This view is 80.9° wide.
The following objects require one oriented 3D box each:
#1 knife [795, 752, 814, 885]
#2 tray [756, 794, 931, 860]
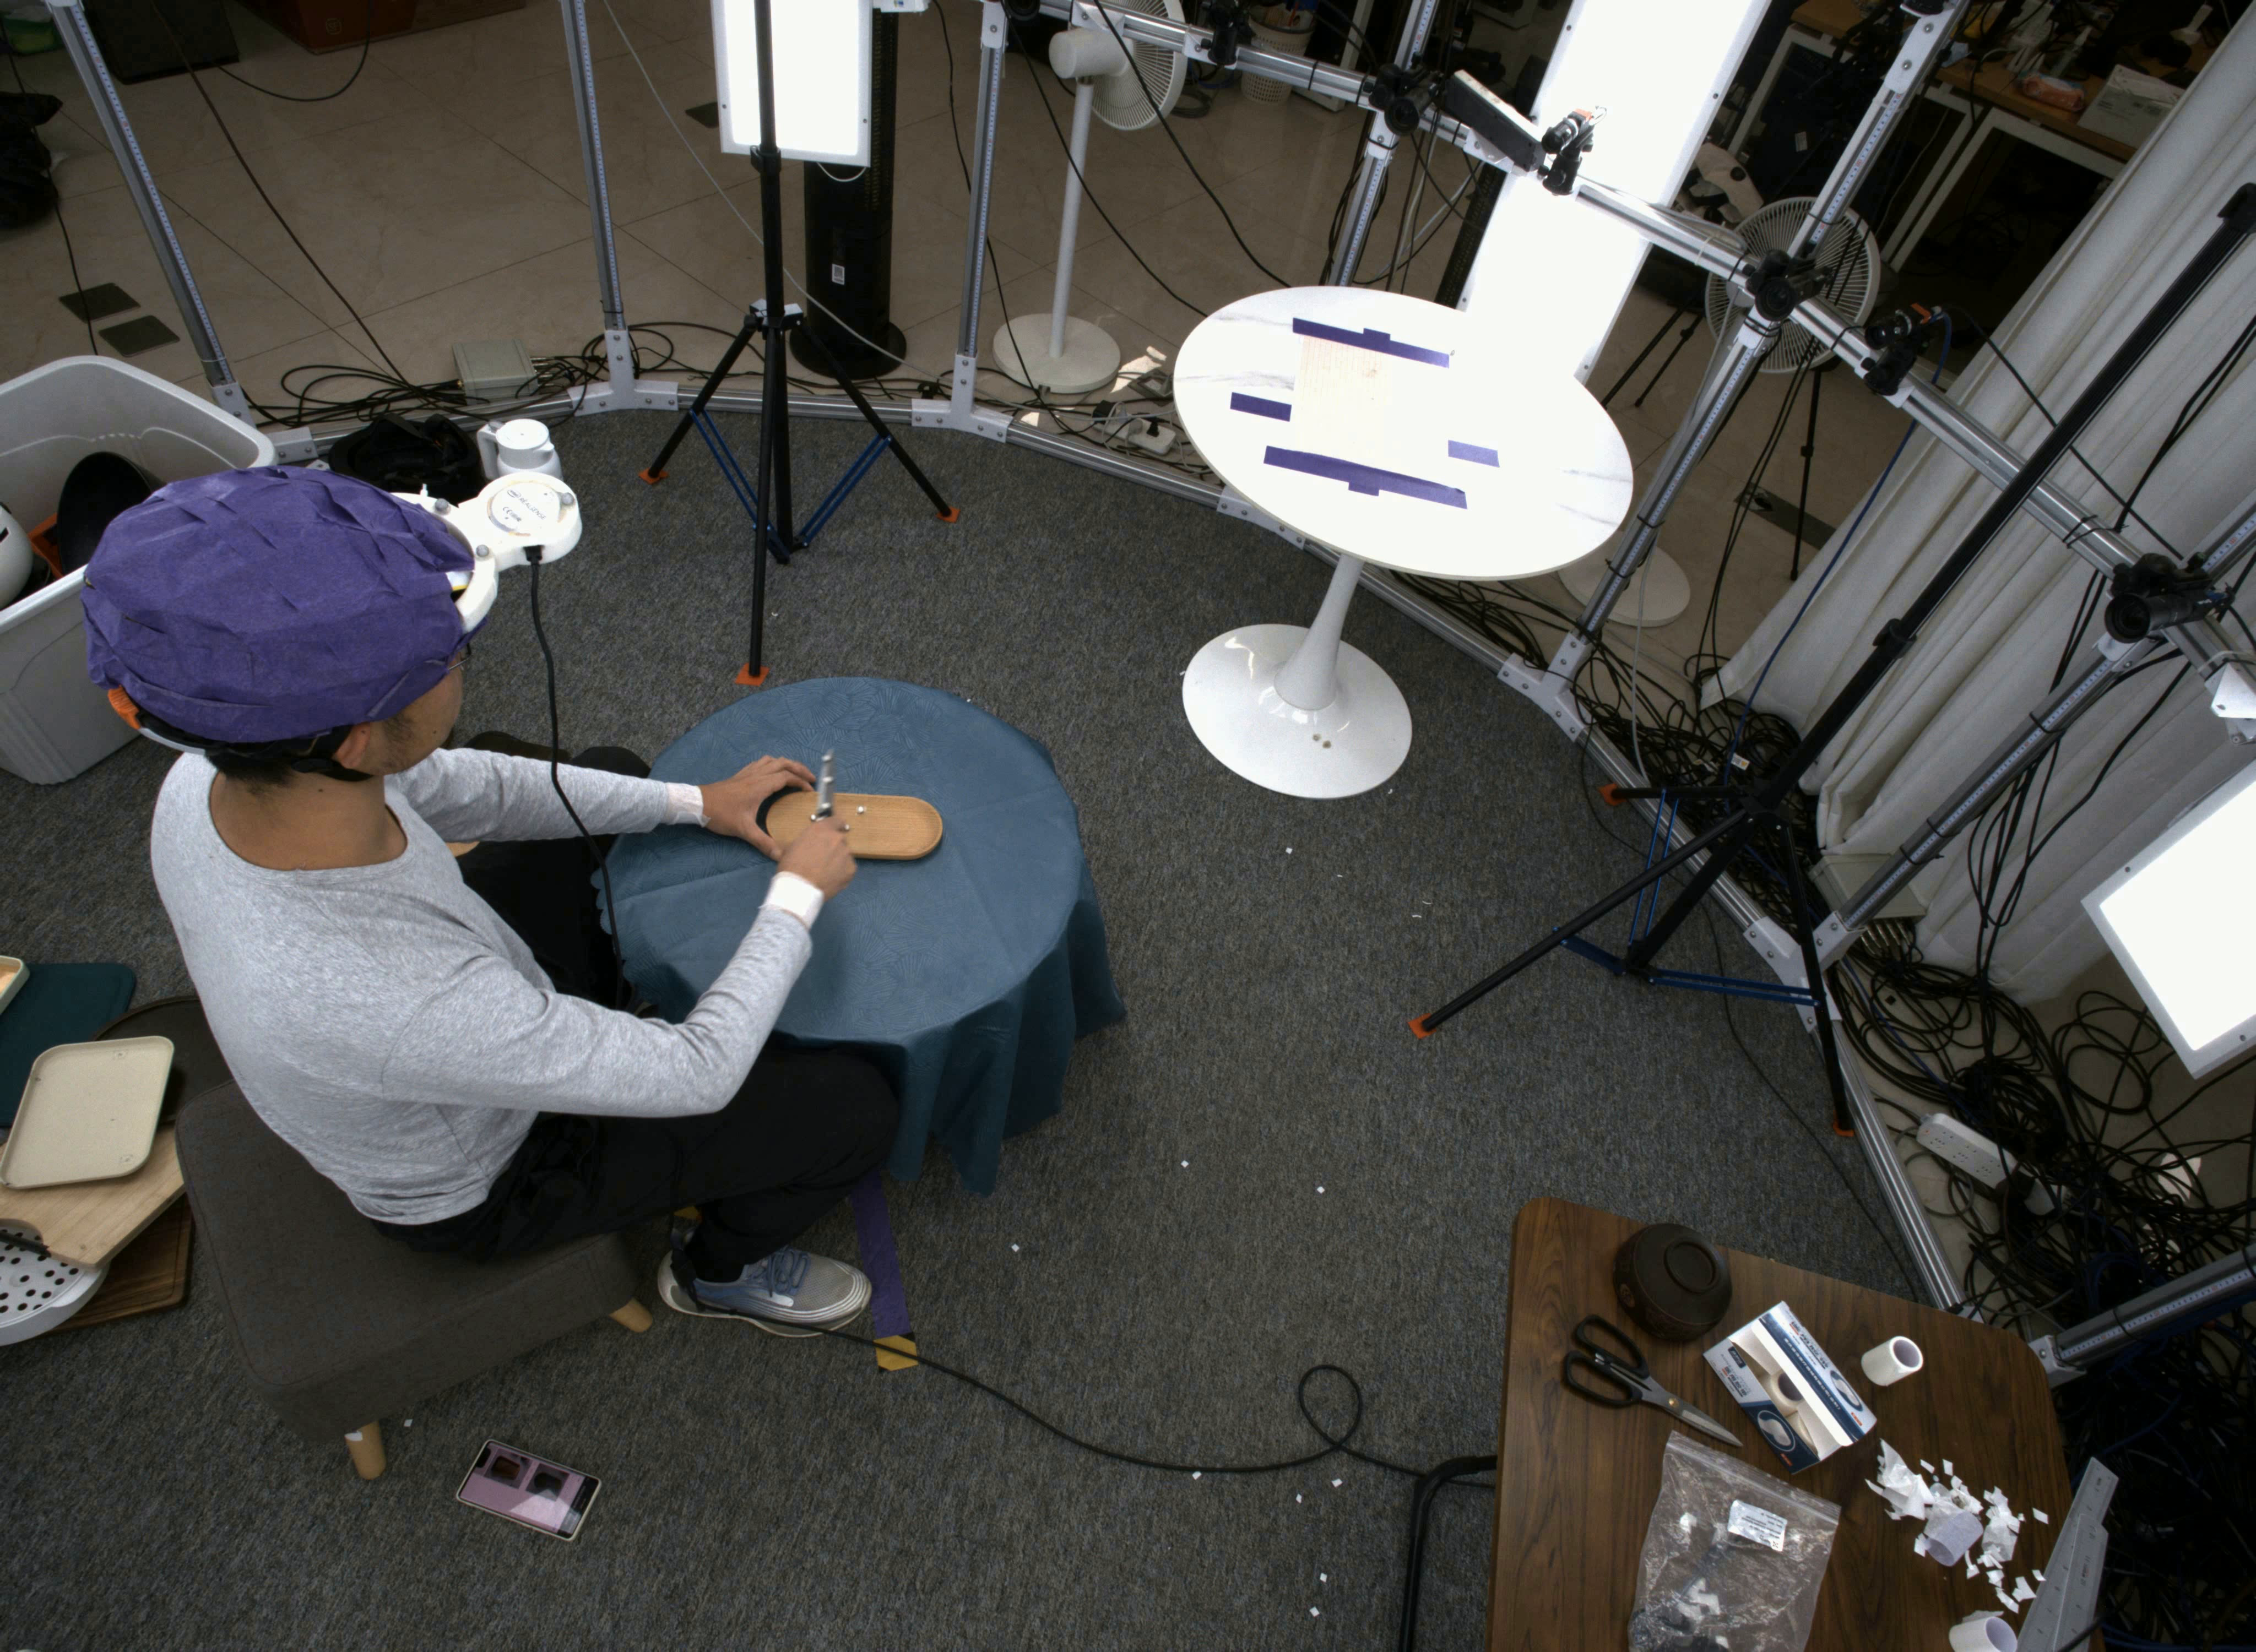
[{"bbox_3d":[-0.401,-0.017,1.612,0.024,0.017,0.232,-19,45,7],"label":"knife"},{"bbox_3d":[-0.379,0.000,1.737,0.232,0.020,0.099,1,56,-15],"label":"tray"}]
